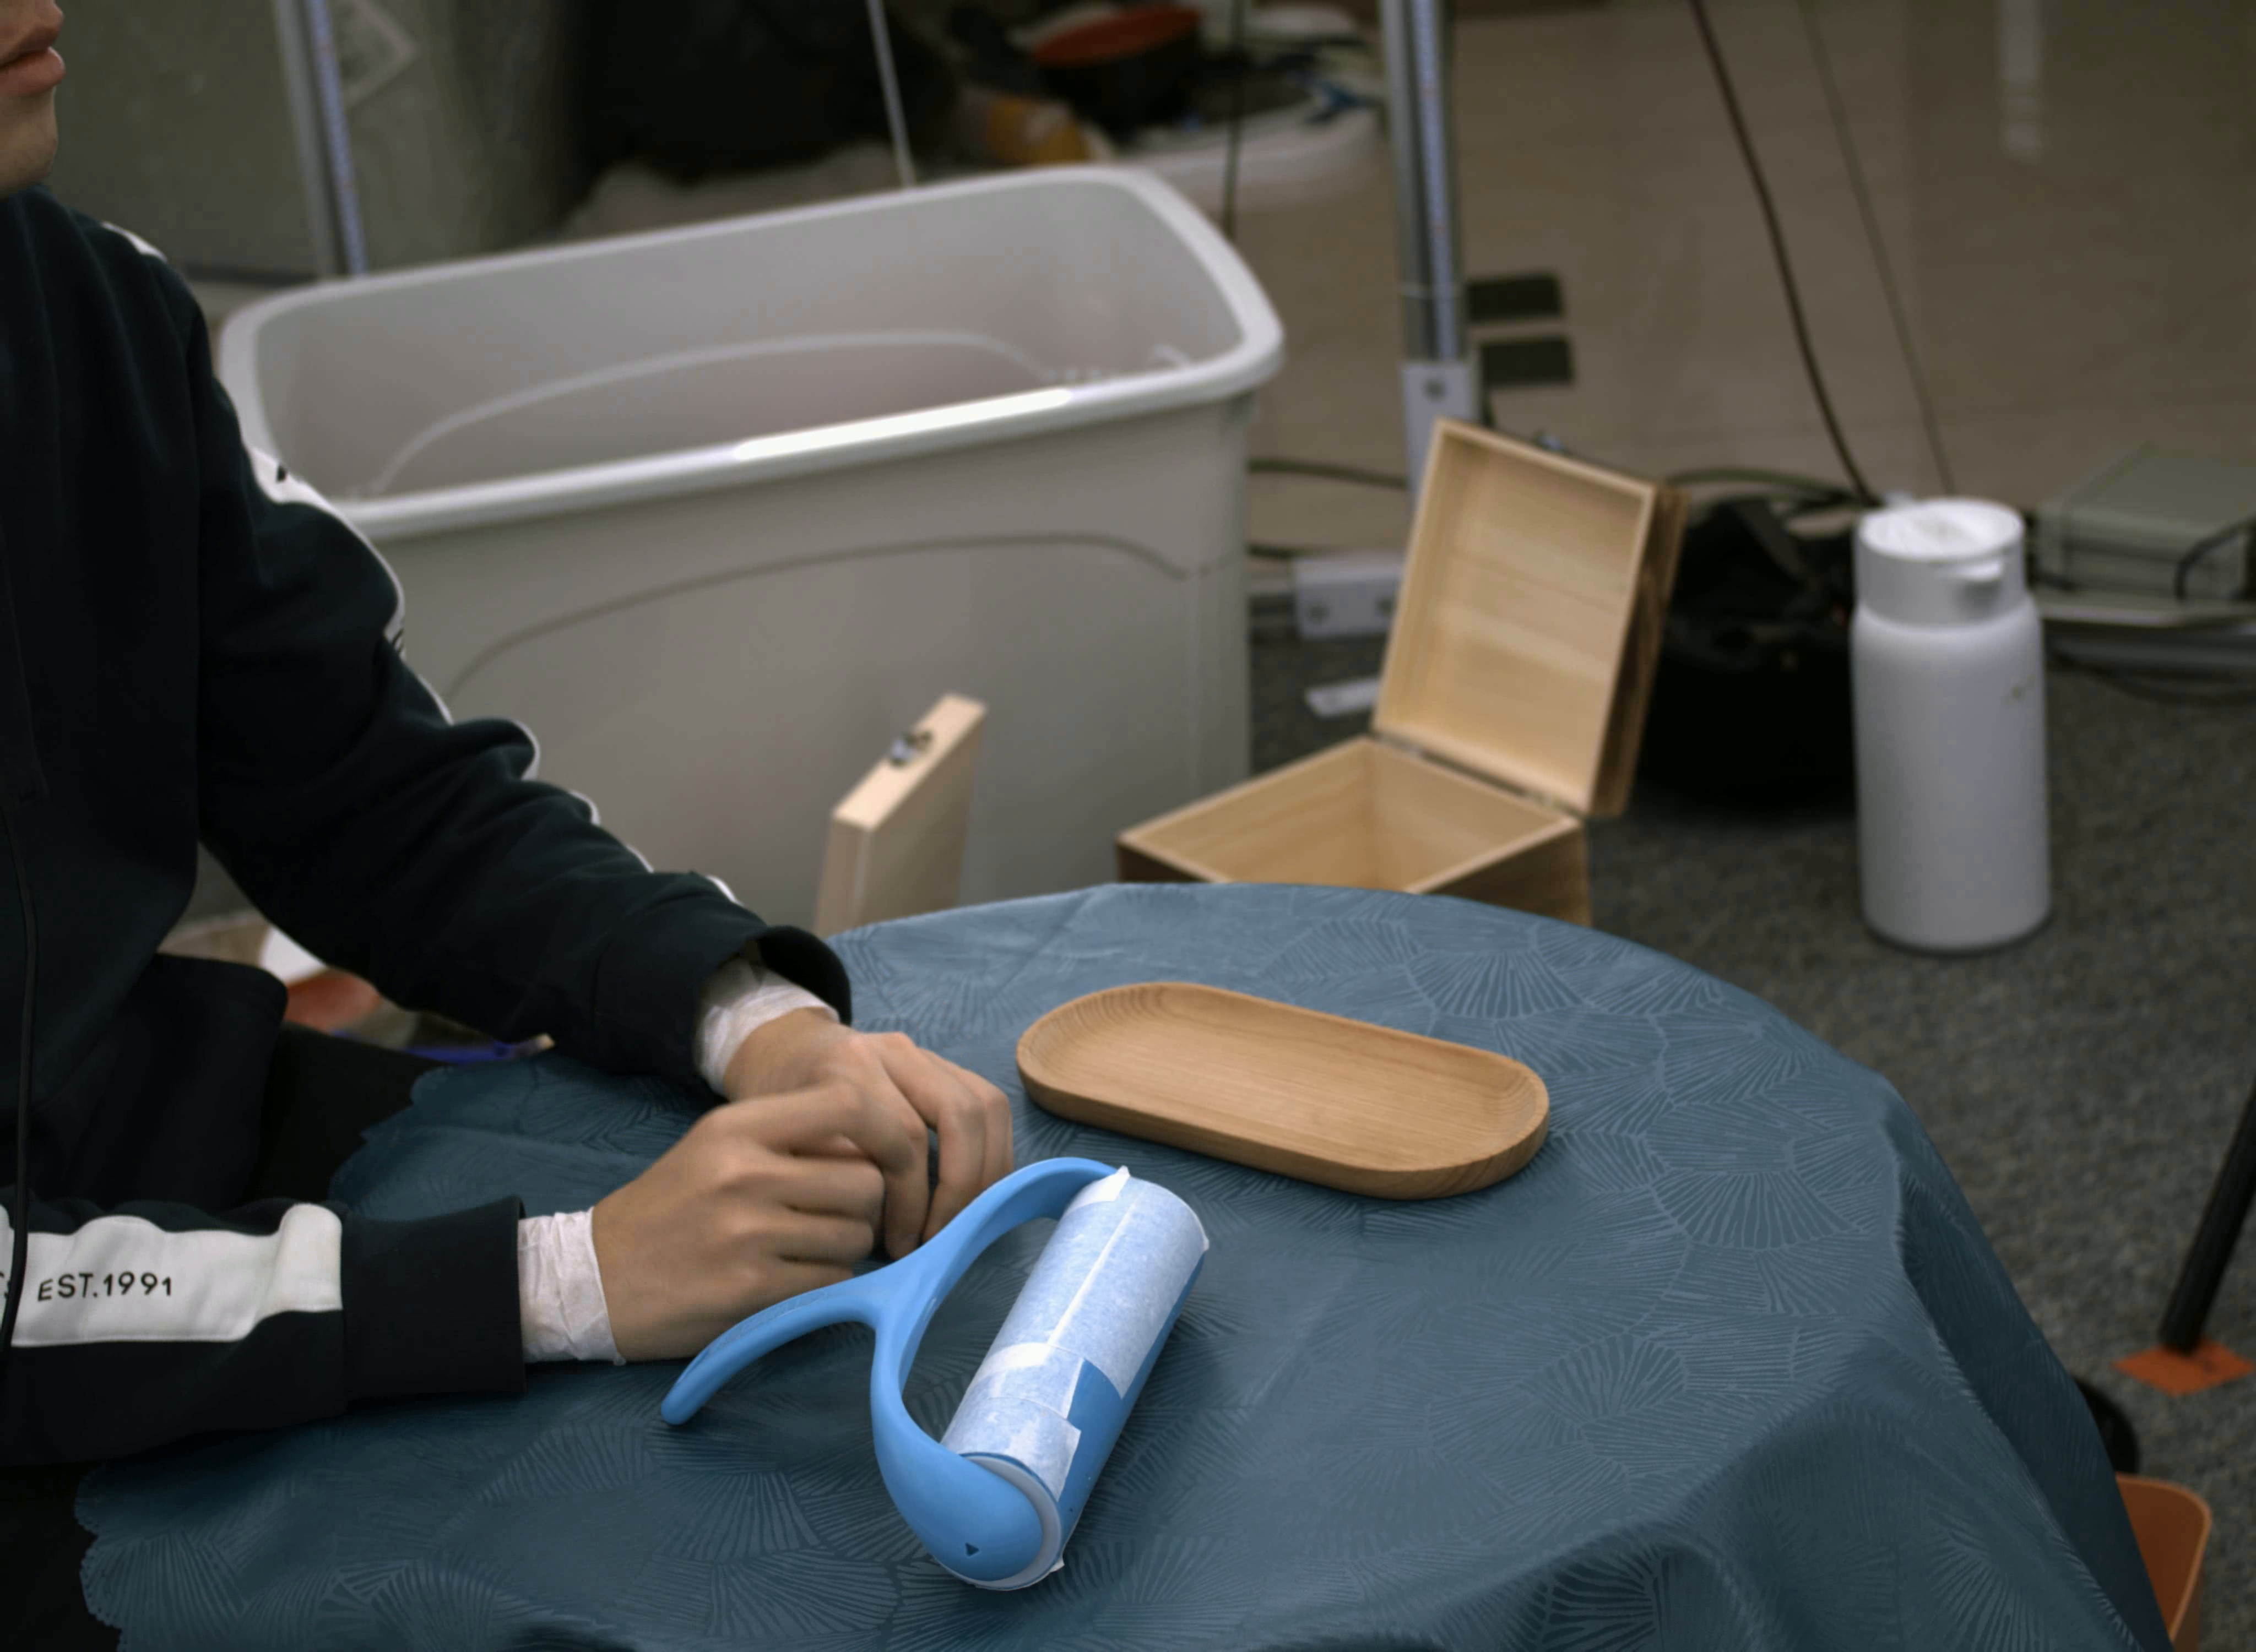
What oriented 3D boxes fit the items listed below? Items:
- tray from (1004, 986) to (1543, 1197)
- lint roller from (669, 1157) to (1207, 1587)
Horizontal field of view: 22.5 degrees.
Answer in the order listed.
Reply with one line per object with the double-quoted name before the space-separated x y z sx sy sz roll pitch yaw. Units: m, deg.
"tray" 0.055 0.102 2.191 0.230 0.020 0.100 10 28 35
"lint roller" -0.079 0.188 1.989 0.180 0.069 0.225 1 28 13
